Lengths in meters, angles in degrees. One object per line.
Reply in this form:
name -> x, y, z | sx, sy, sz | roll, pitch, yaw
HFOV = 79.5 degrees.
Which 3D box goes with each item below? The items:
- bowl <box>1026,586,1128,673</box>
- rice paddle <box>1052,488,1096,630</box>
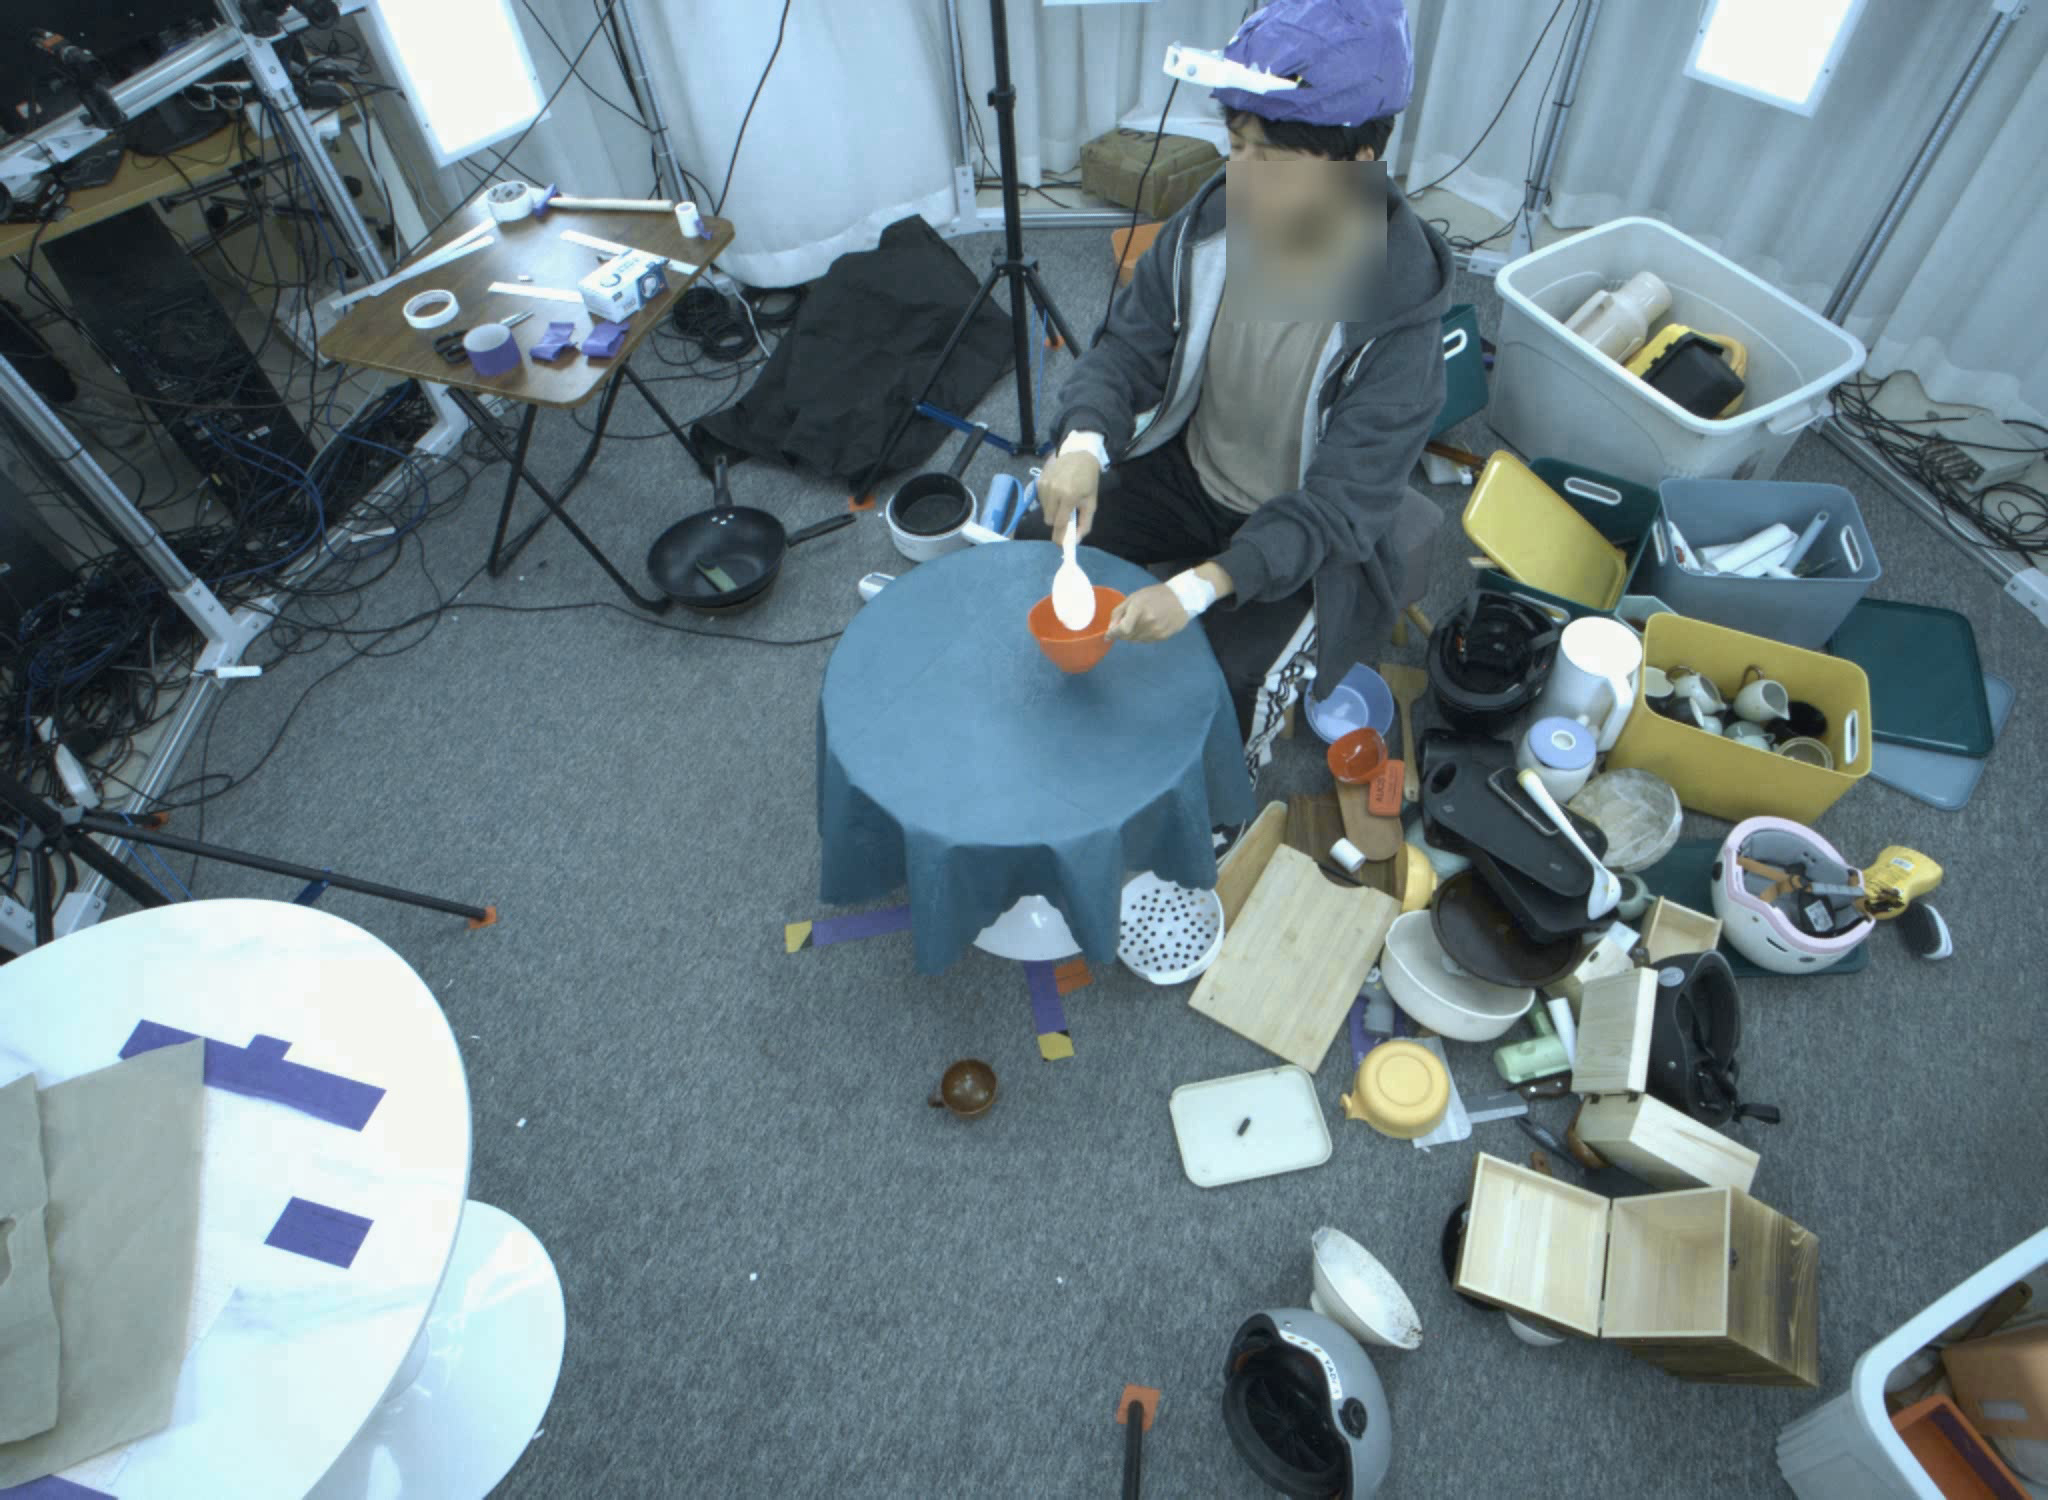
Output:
bowl -> 0.079, -0.166, 1.781 | 0.147, 0.106, 0.146 | -3, 45, 4
rice paddle -> 0.067, -0.273, 1.758 | 0.070, 0.029, 0.205 | -3, 85, -29
